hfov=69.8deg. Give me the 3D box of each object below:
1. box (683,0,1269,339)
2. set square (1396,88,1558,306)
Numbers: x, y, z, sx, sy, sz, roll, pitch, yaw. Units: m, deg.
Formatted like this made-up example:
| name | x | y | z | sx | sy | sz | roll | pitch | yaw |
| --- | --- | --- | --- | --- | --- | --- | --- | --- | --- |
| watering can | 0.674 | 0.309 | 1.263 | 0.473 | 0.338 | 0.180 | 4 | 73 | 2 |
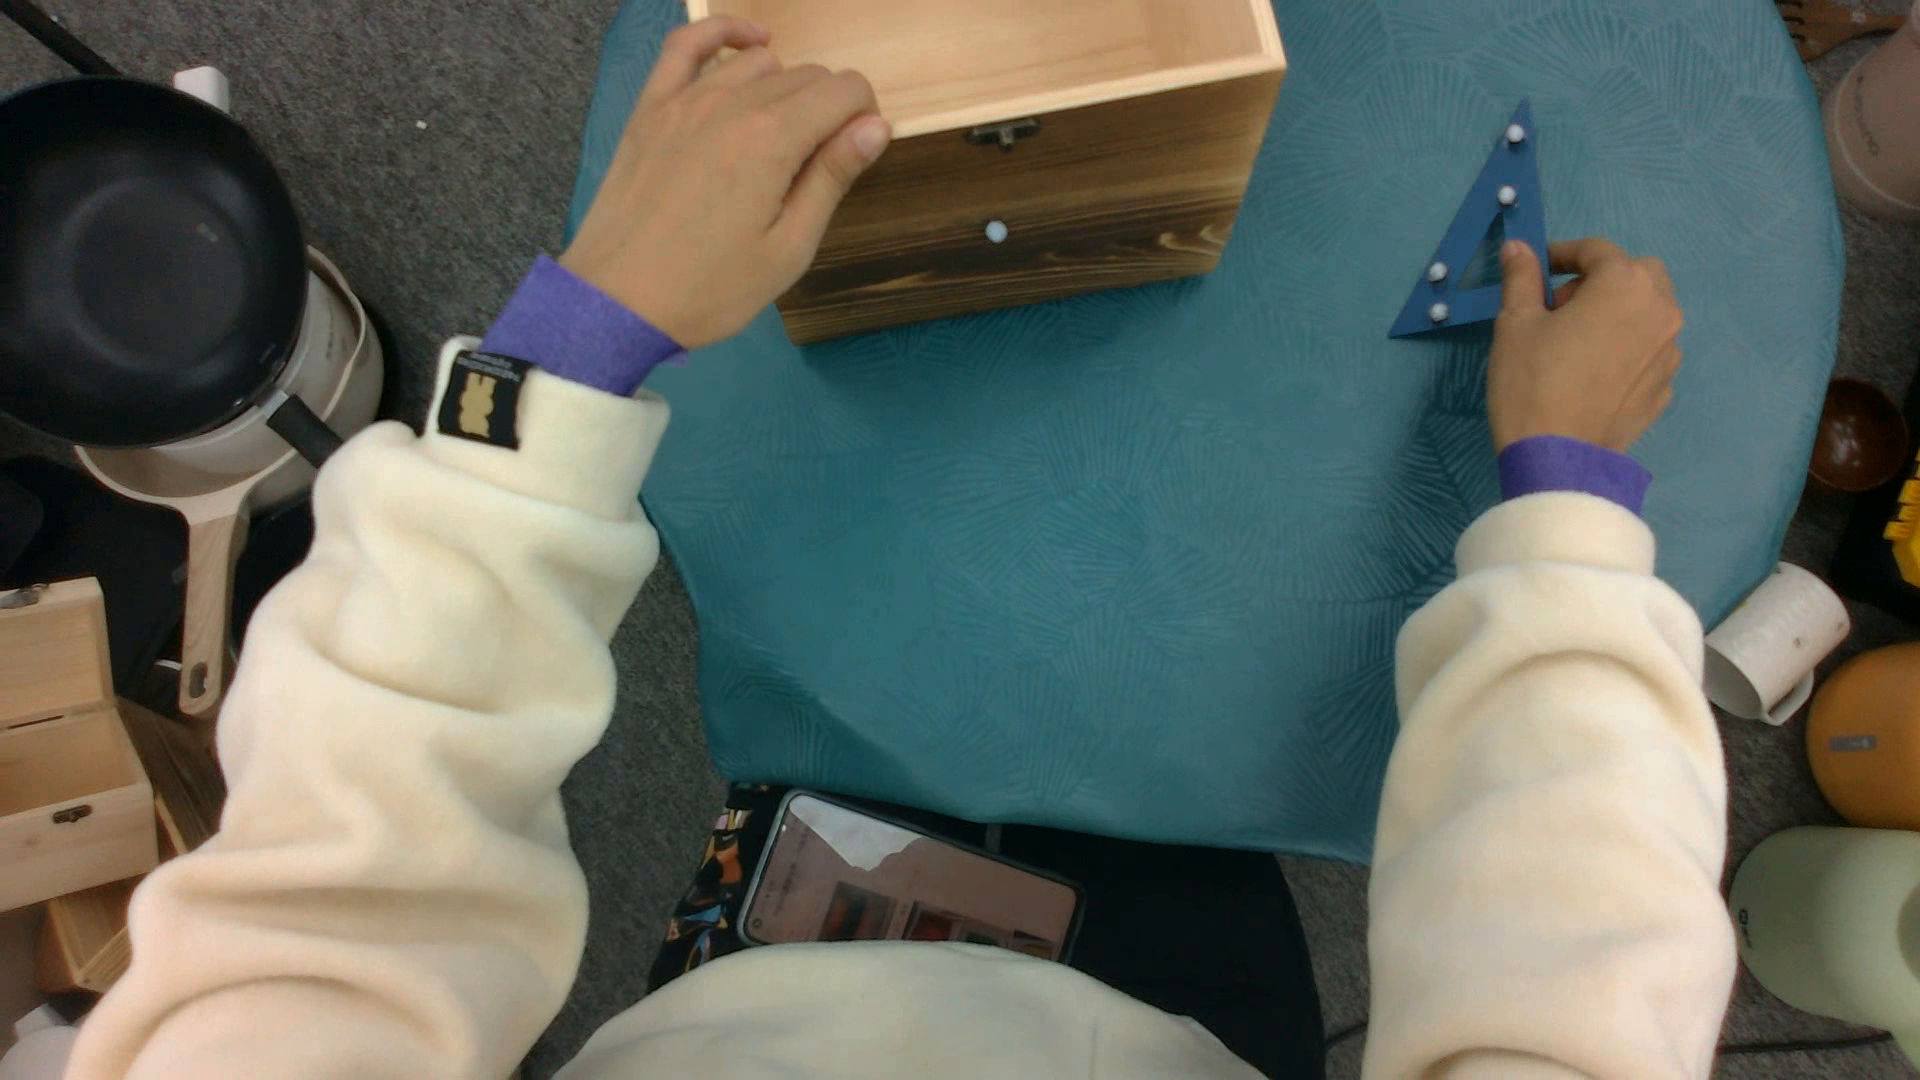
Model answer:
| name | x | y | z | sx | sy | sz | roll | pitch | yaw |
| --- | --- | --- | --- | --- | --- | --- | --- | --- | --- |
| box | -0.018 | -0.295 | 0.506 | 0.209 | 0.374 | 0.322 | -10 | 76 | 0 |
| set square | 0.260 | -0.153 | 0.638 | 0.061 | 0.006 | 0.132 | 30 | 82 | 32 |
